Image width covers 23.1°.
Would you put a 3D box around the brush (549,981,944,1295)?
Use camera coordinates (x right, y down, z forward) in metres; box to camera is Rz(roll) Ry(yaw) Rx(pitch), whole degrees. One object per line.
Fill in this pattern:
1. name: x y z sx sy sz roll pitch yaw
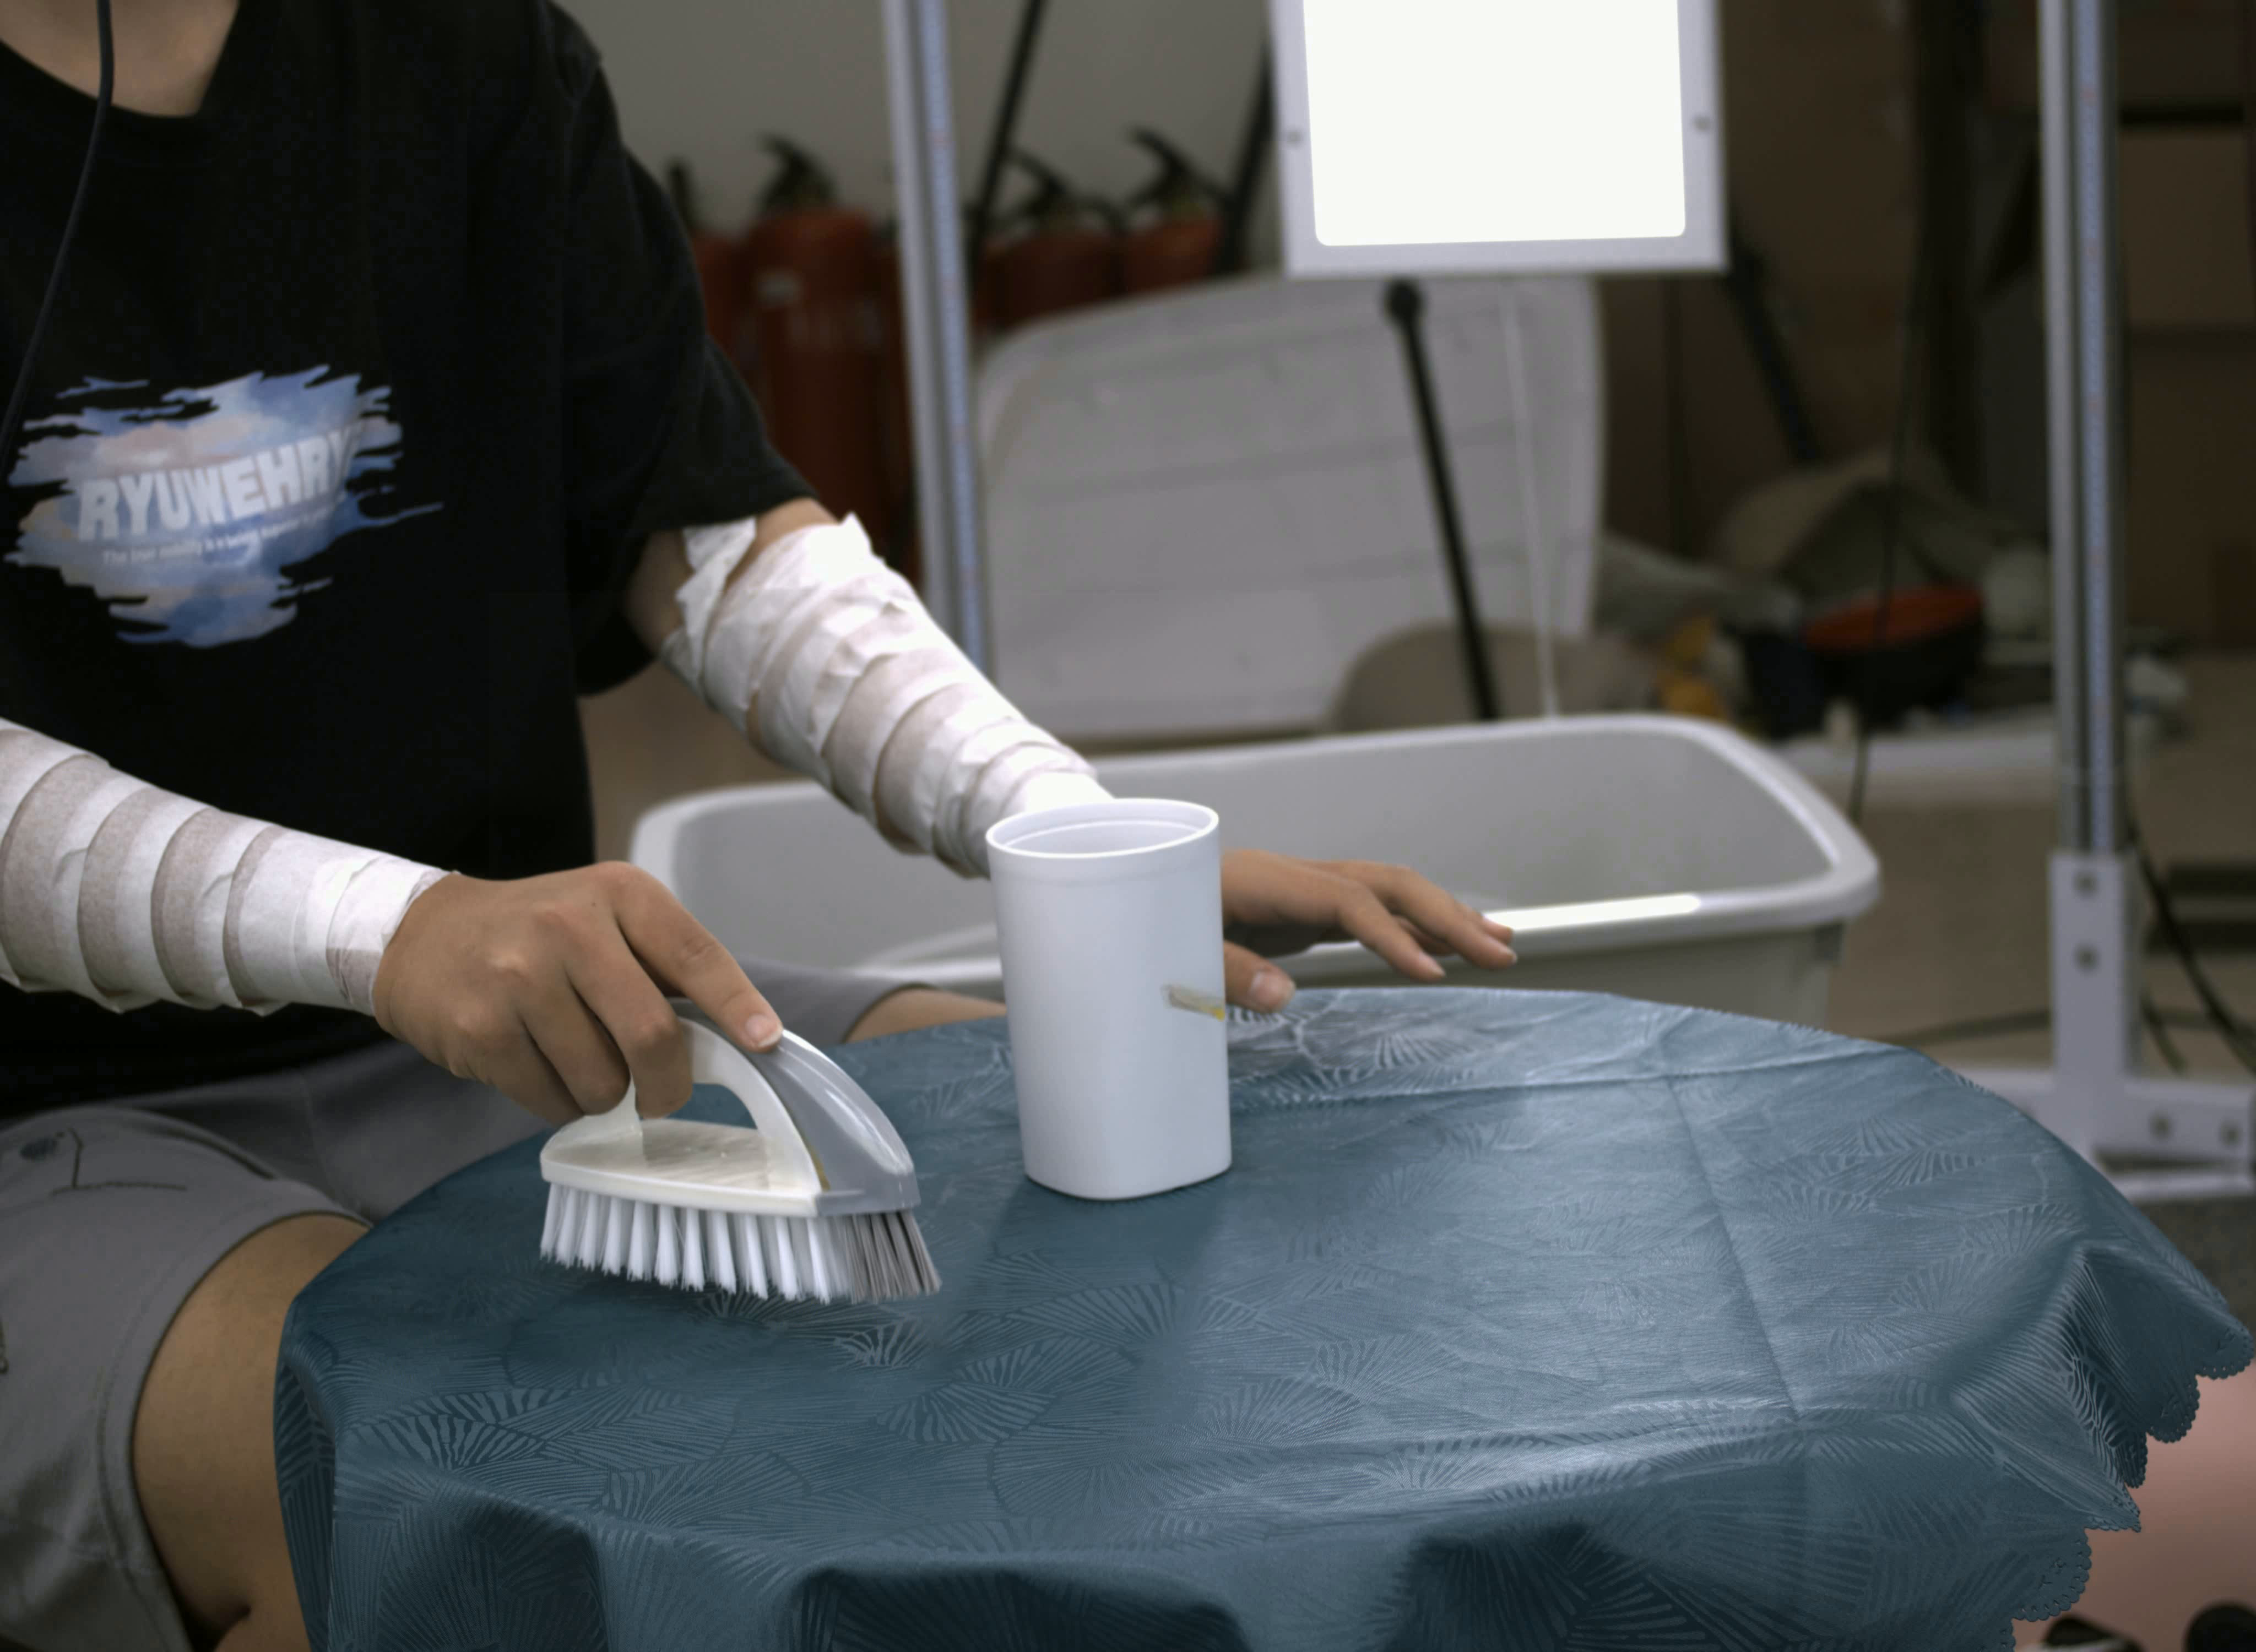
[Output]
1. brush: -0.124 0.099 1.801 0.060 0.094 0.179 -21 19 -38

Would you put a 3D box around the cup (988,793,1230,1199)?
1. cup: -0.004 0.059 1.911 0.081 0.126 0.081 -4 15 0
